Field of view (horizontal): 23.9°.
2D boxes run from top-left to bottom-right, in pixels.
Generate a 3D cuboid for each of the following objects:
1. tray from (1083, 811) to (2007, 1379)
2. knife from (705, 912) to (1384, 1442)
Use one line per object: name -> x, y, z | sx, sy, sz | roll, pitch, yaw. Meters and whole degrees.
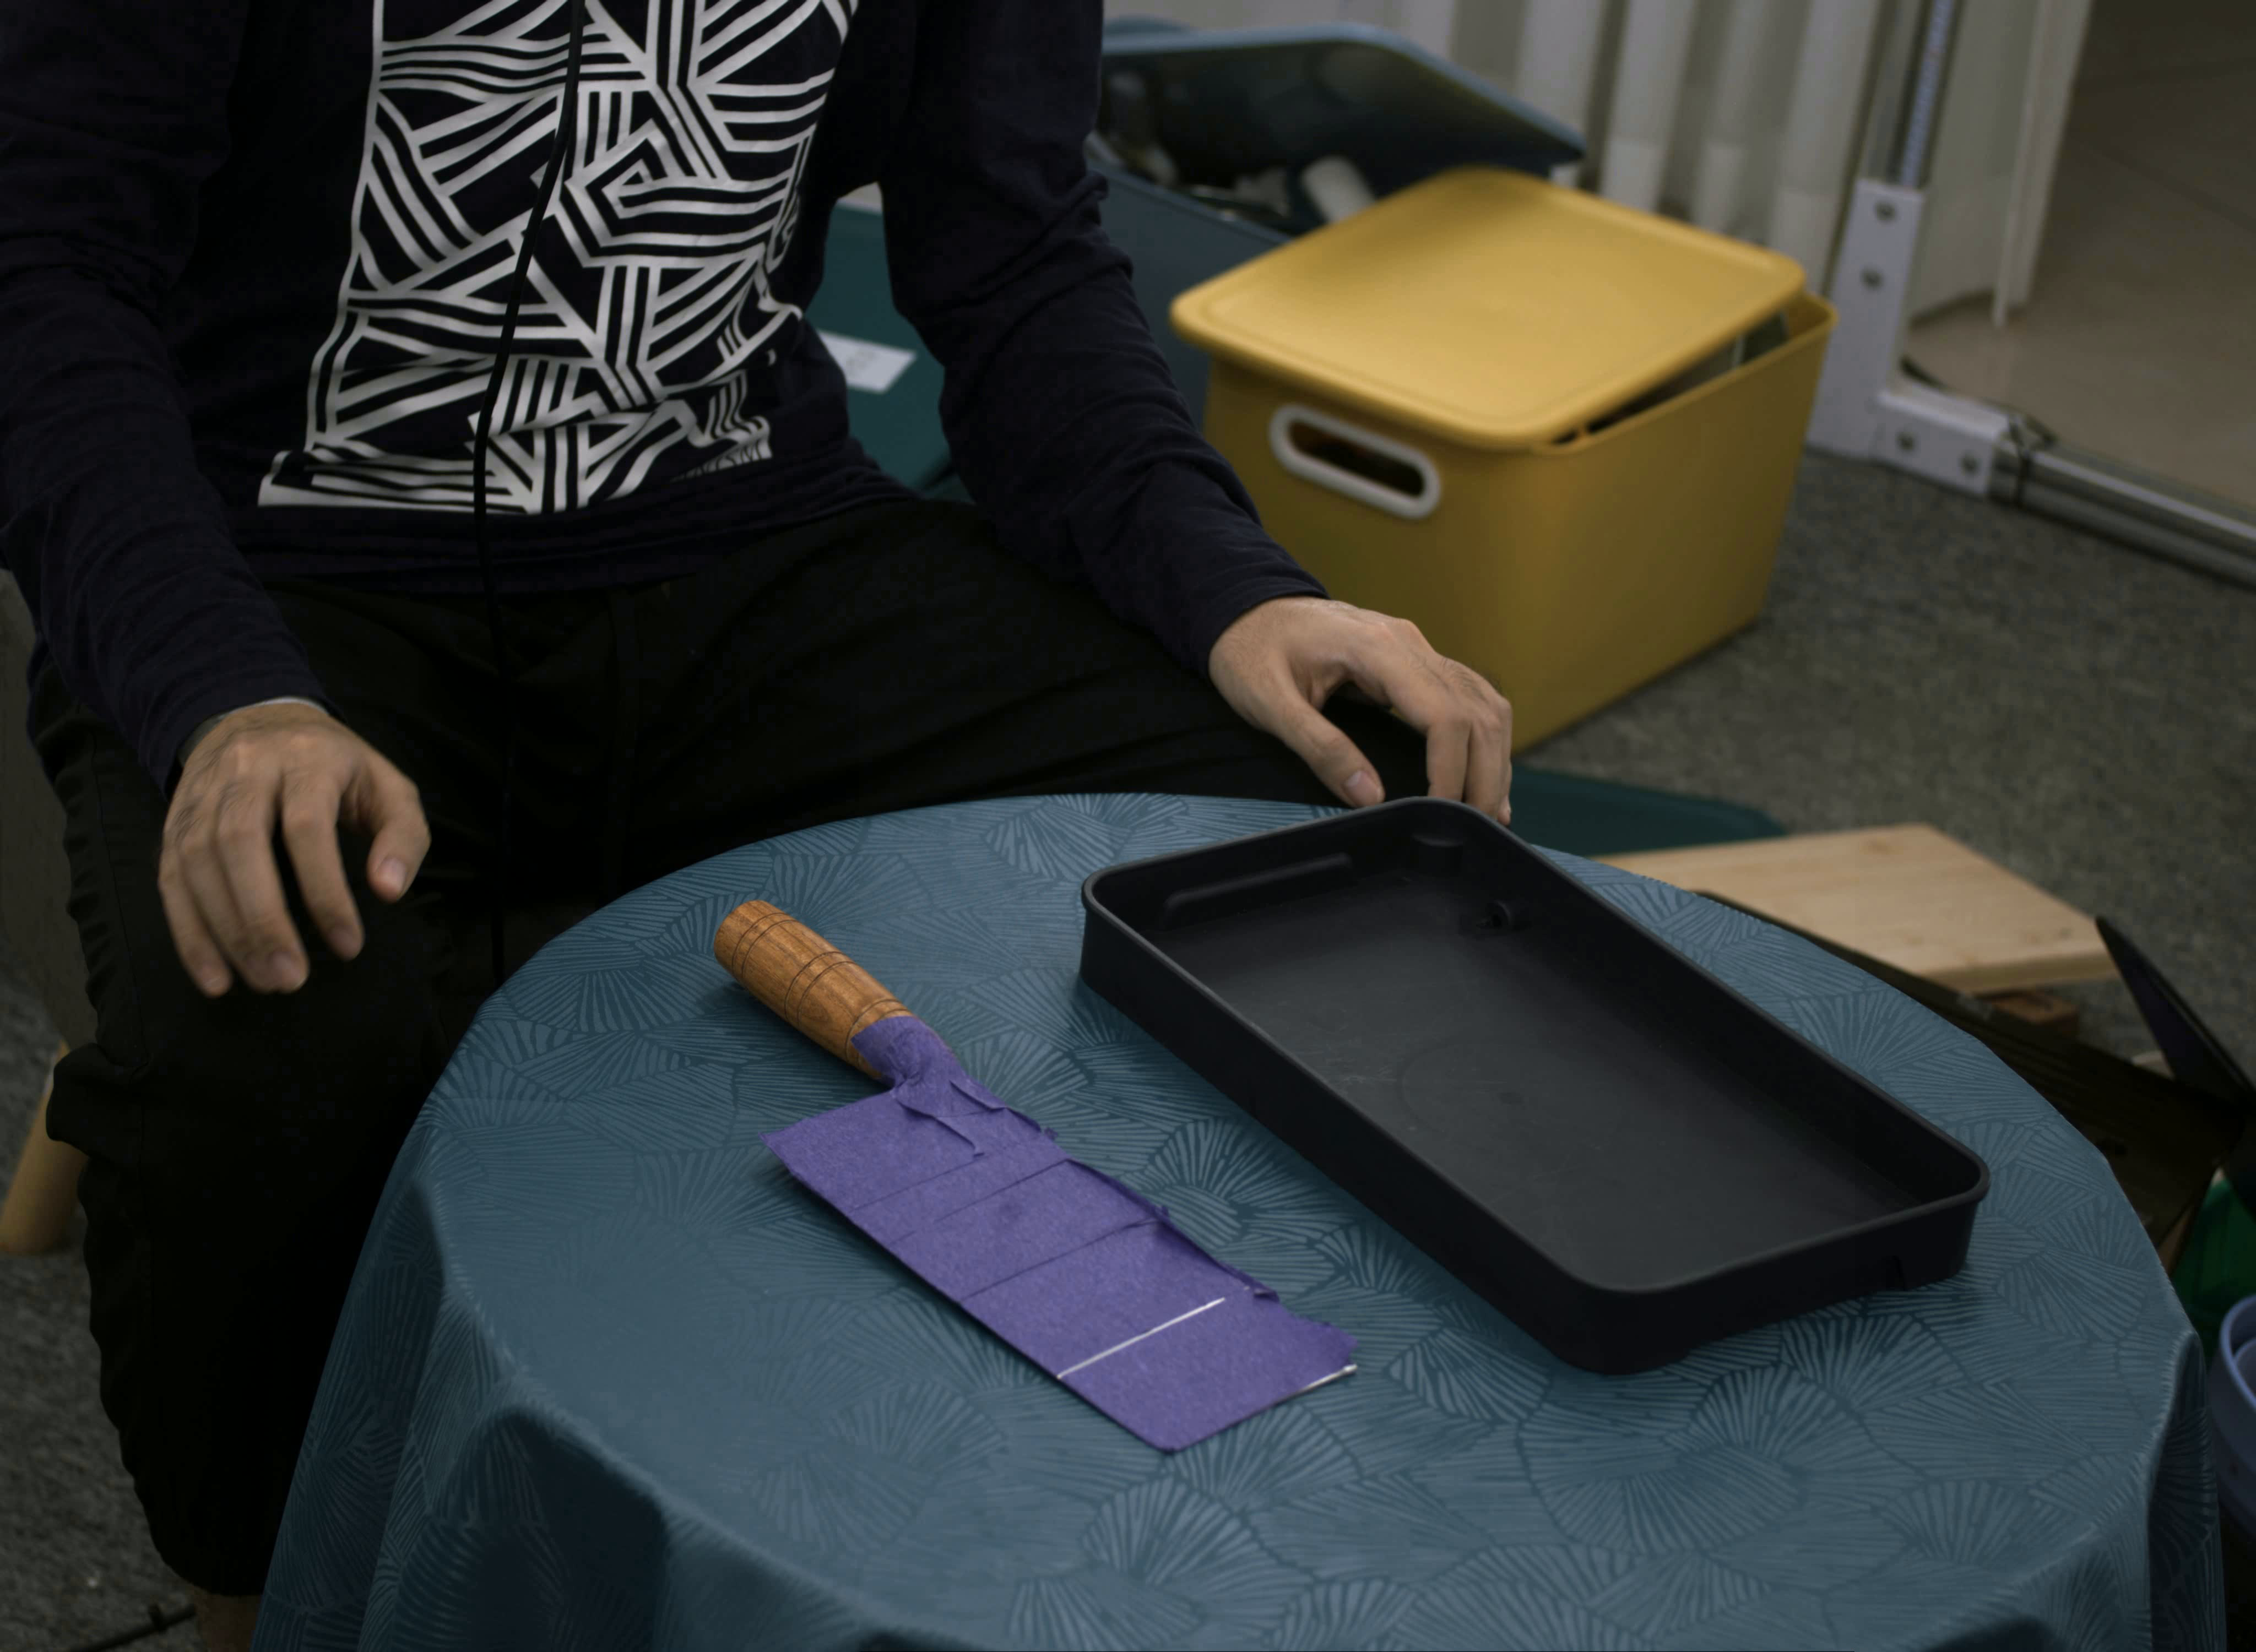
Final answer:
tray -> 0.140, 0.088, 1.872 | 0.183, 0.037, 0.321 | -14, 32, -34
knife -> -0.057, 0.114, 1.783 | 0.103, 0.032, 0.318 | -18, 36, -40
